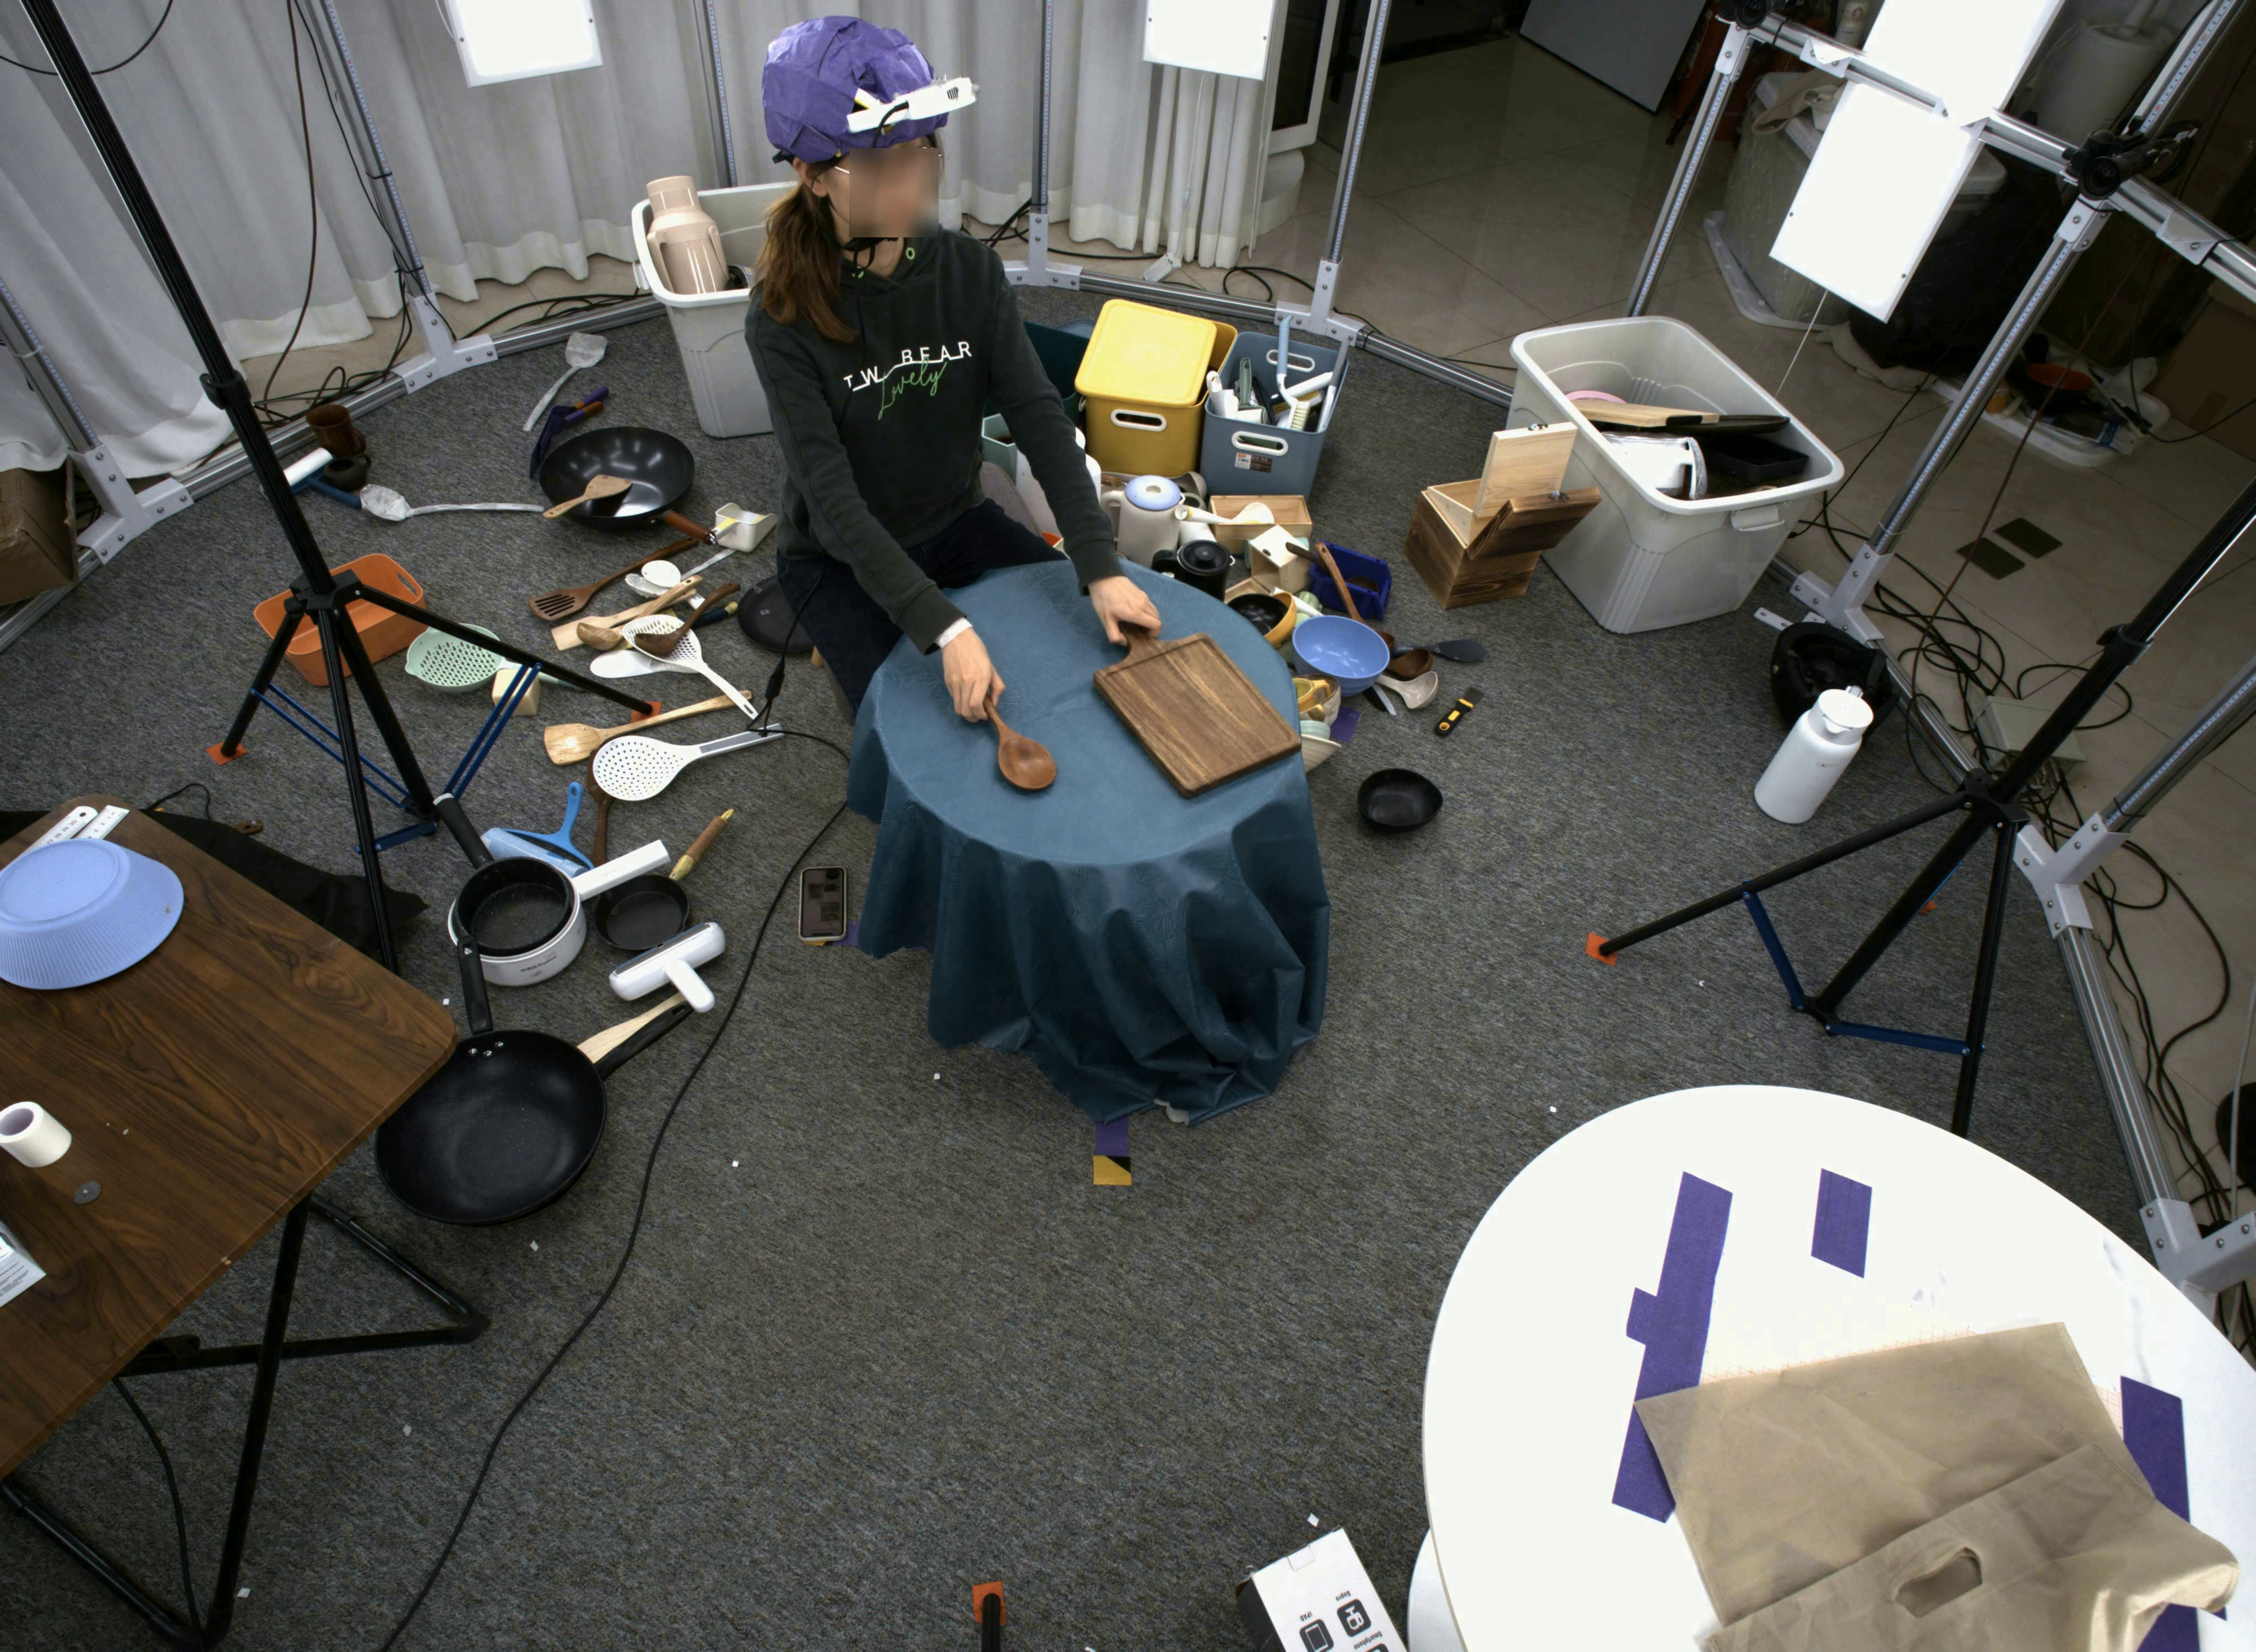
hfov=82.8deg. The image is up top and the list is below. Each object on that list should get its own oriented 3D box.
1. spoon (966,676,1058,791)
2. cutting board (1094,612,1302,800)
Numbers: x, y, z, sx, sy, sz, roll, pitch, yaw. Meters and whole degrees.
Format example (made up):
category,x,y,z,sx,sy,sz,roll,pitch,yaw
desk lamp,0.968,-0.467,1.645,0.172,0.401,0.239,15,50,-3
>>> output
category,x,y,z,sx,sy,sz,roll,pitch,yaw
spoon,-0.166,-0.128,1.762,0.076,0.017,0.220,-22,60,-21
cutting board,0.071,-0.195,1.842,0.202,0.022,0.359,-23,55,-21
